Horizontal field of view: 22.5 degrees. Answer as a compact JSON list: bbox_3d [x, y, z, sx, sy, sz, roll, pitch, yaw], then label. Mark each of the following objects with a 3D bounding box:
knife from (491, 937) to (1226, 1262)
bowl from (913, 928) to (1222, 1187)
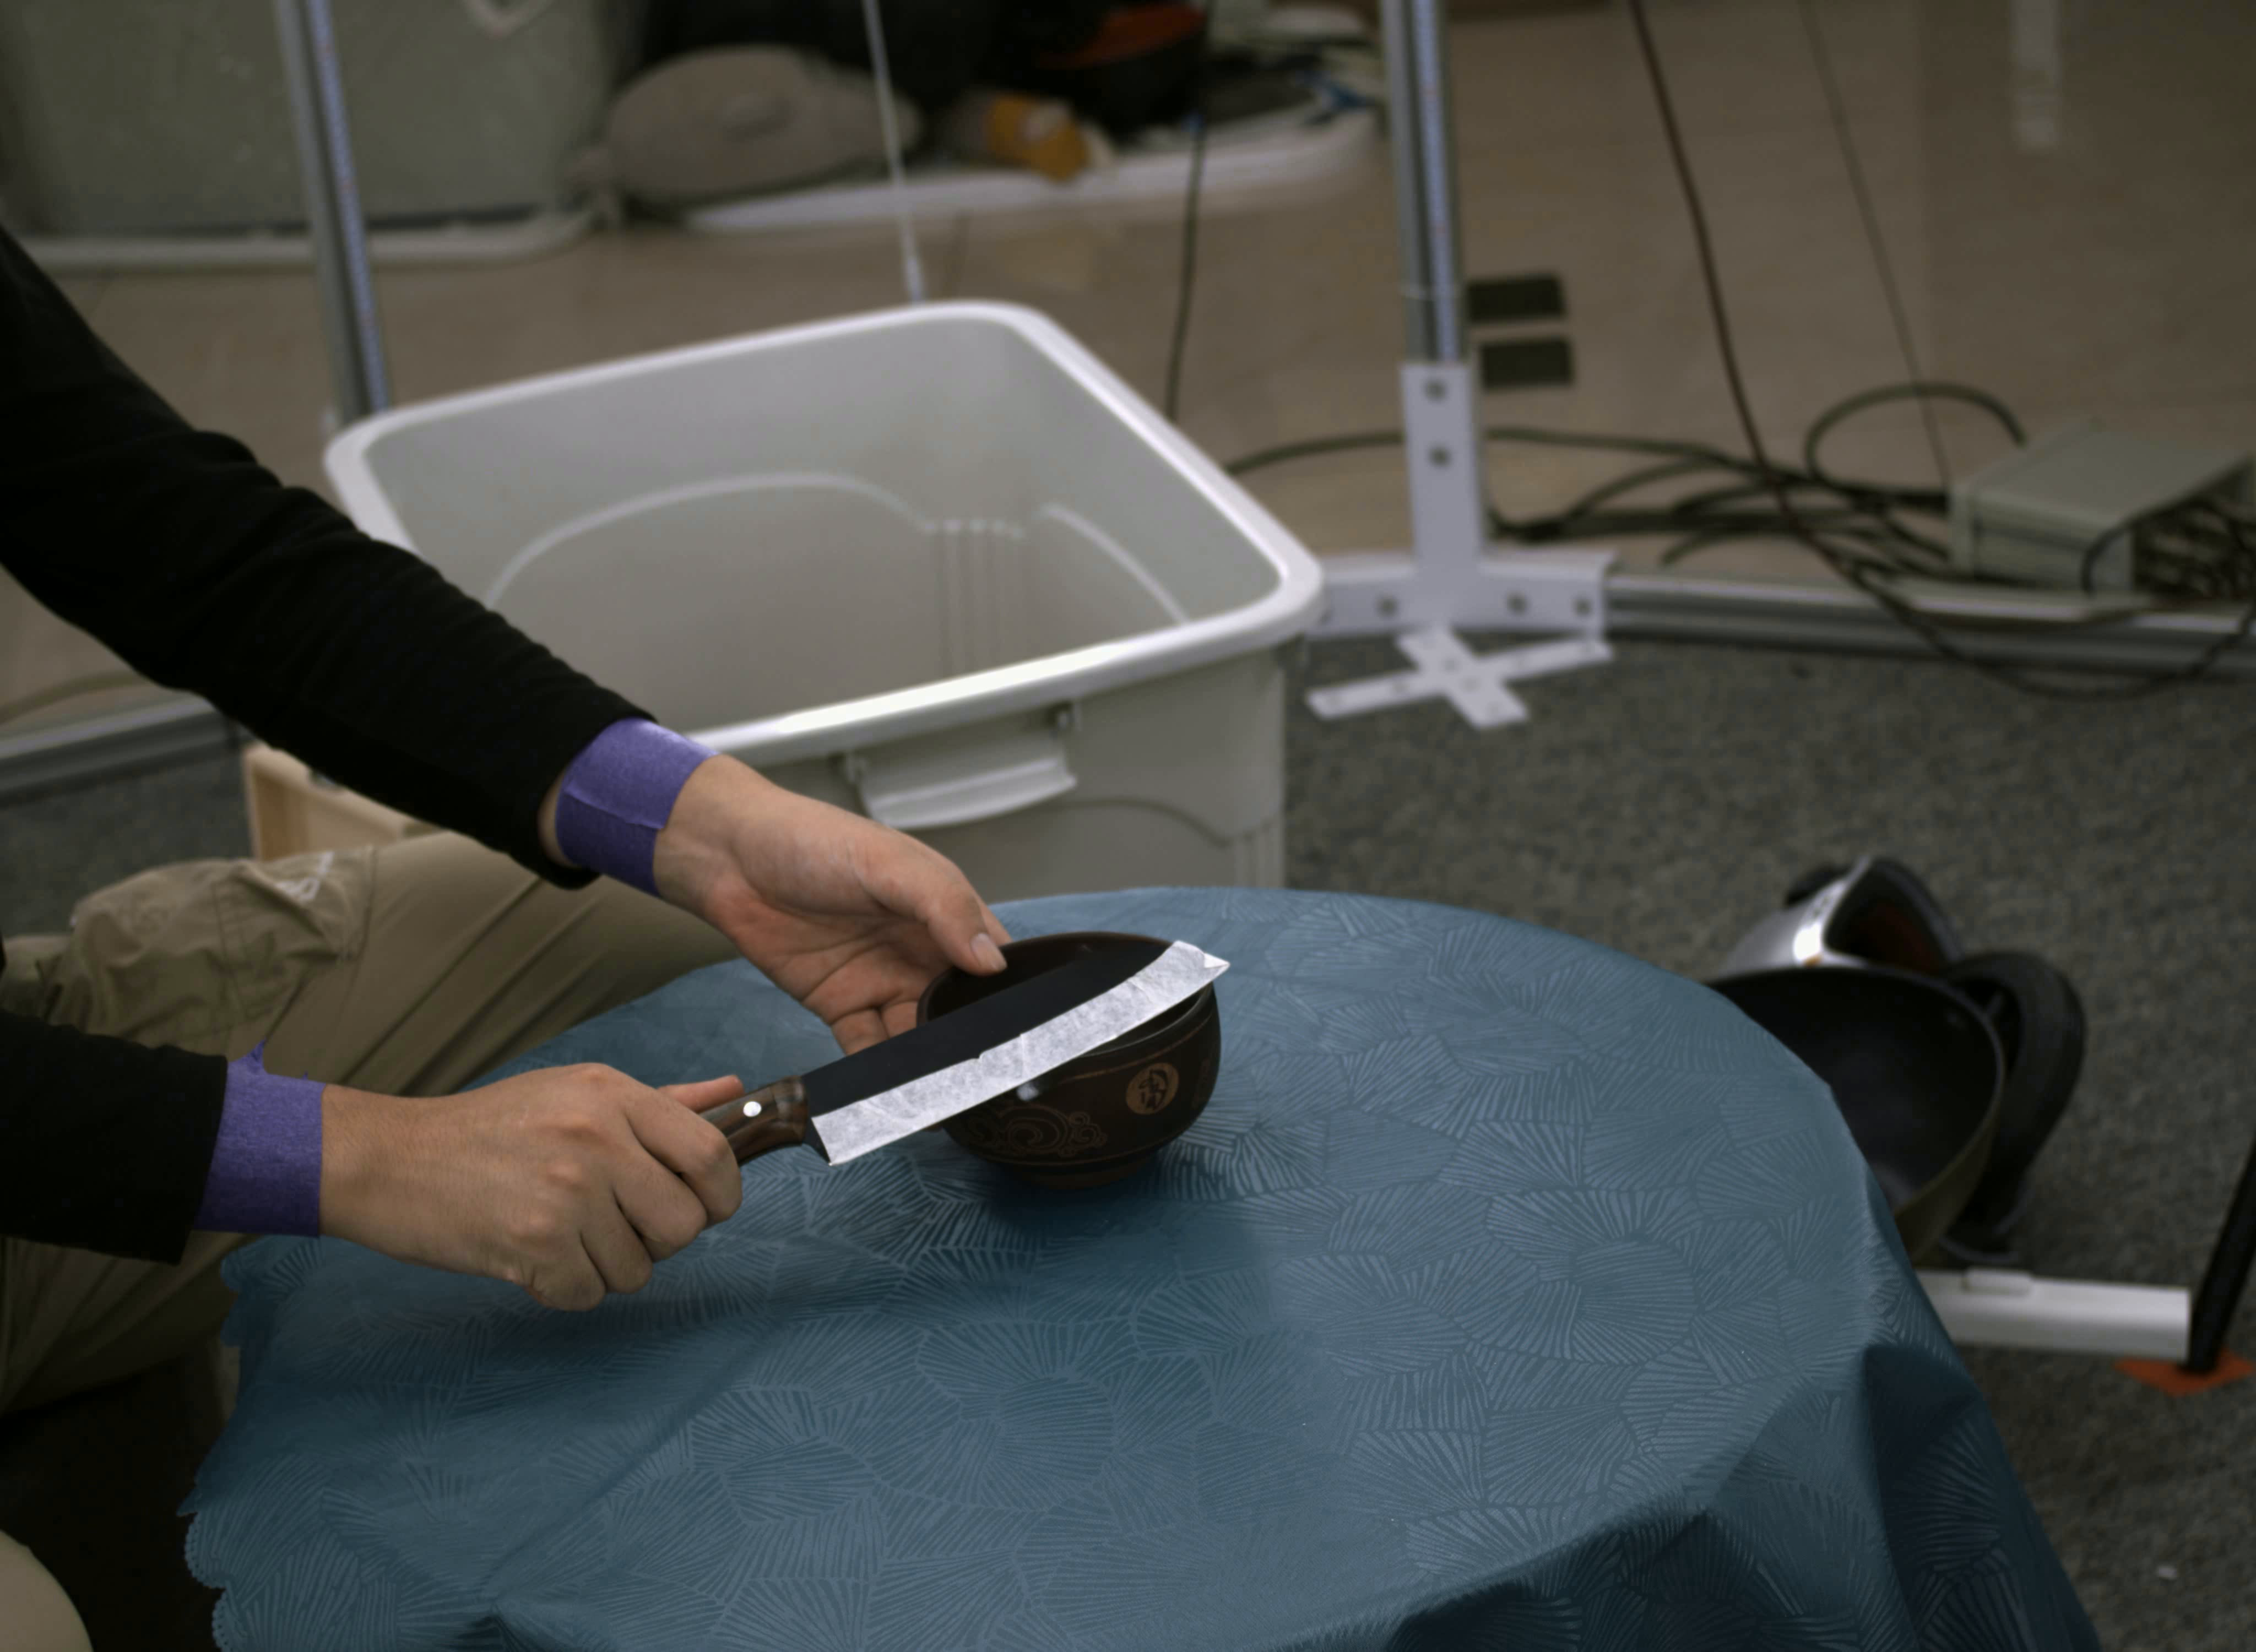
[{"bbox_3d":[-0.098,0.099,2.098,0.288,0.020,0.049,-21,54,-7],"label":"knife"},{"bbox_3d":[-0.021,0.094,2.164,0.118,0.071,0.116,-6,24,3],"label":"bowl"}]
